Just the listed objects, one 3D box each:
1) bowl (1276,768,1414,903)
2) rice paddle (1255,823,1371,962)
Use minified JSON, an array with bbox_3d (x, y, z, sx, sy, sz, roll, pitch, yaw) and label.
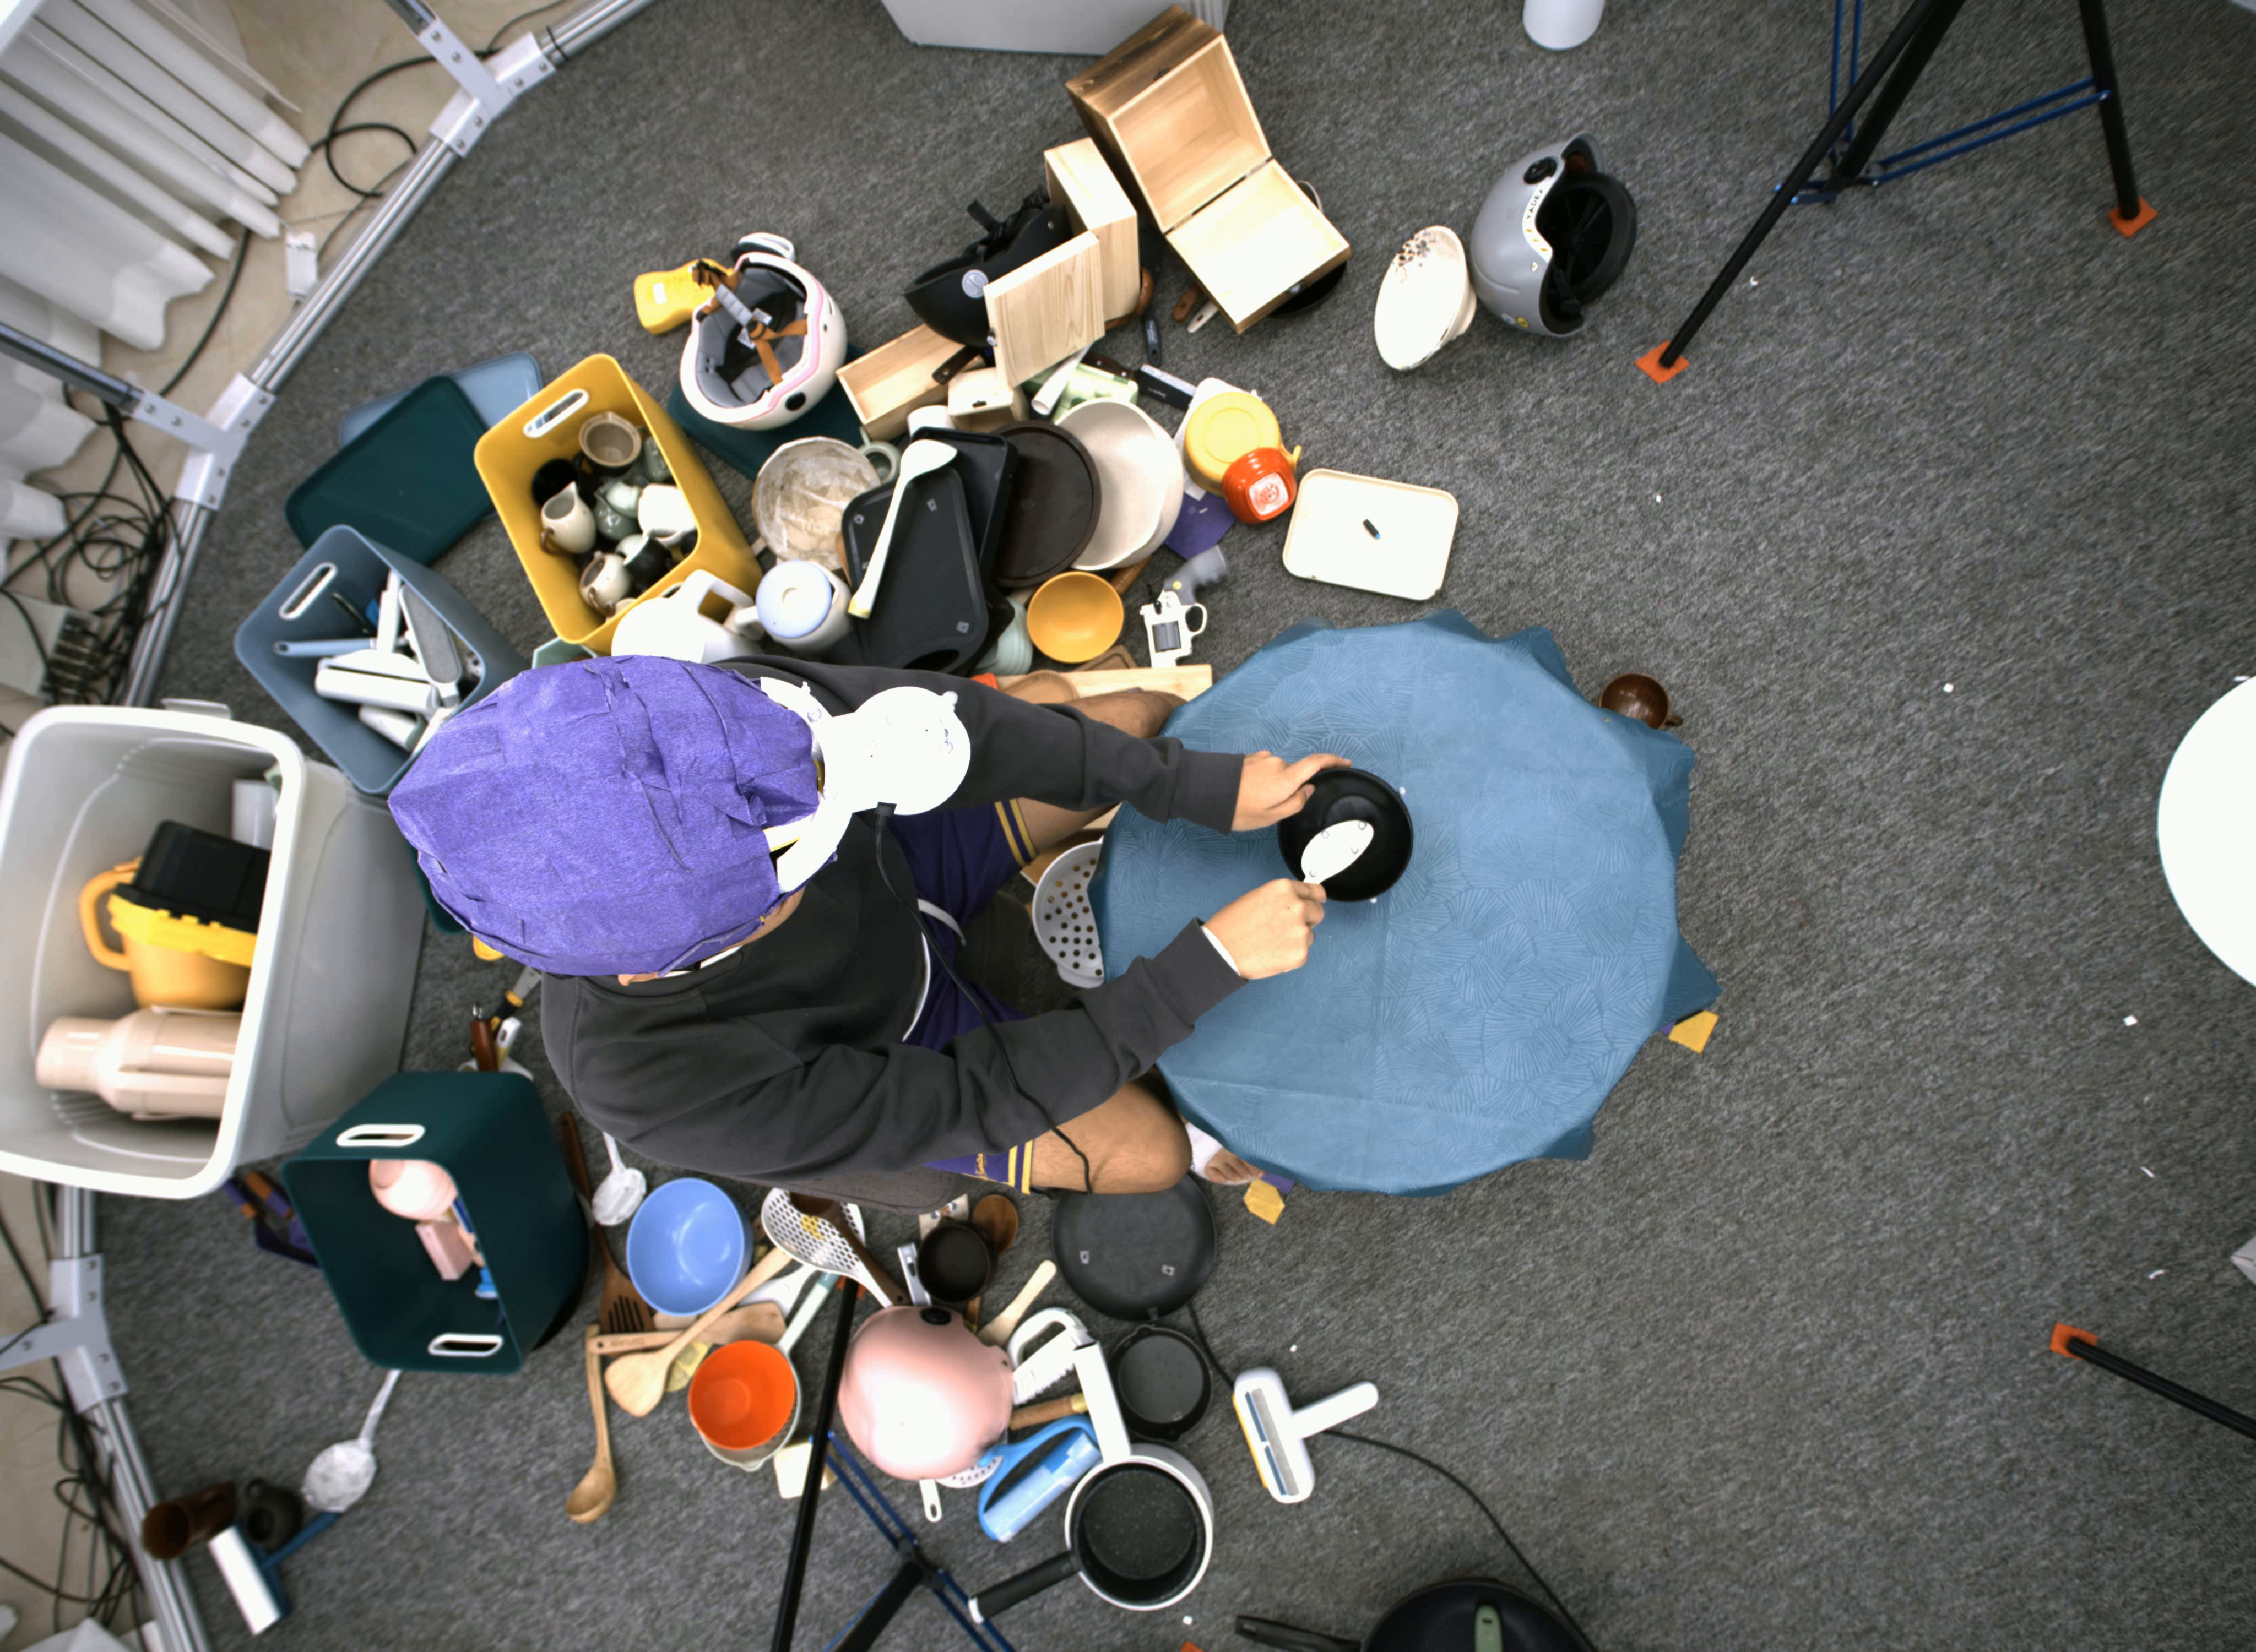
[{"bbox_3d":[0.222,0.004,1.385,0.140,0.049,0.142,8,110,23],"label":"bowl"},{"bbox_3d":[0.177,0.053,1.333,0.069,0.200,0.030,-2,126,39],"label":"rice paddle"}]
